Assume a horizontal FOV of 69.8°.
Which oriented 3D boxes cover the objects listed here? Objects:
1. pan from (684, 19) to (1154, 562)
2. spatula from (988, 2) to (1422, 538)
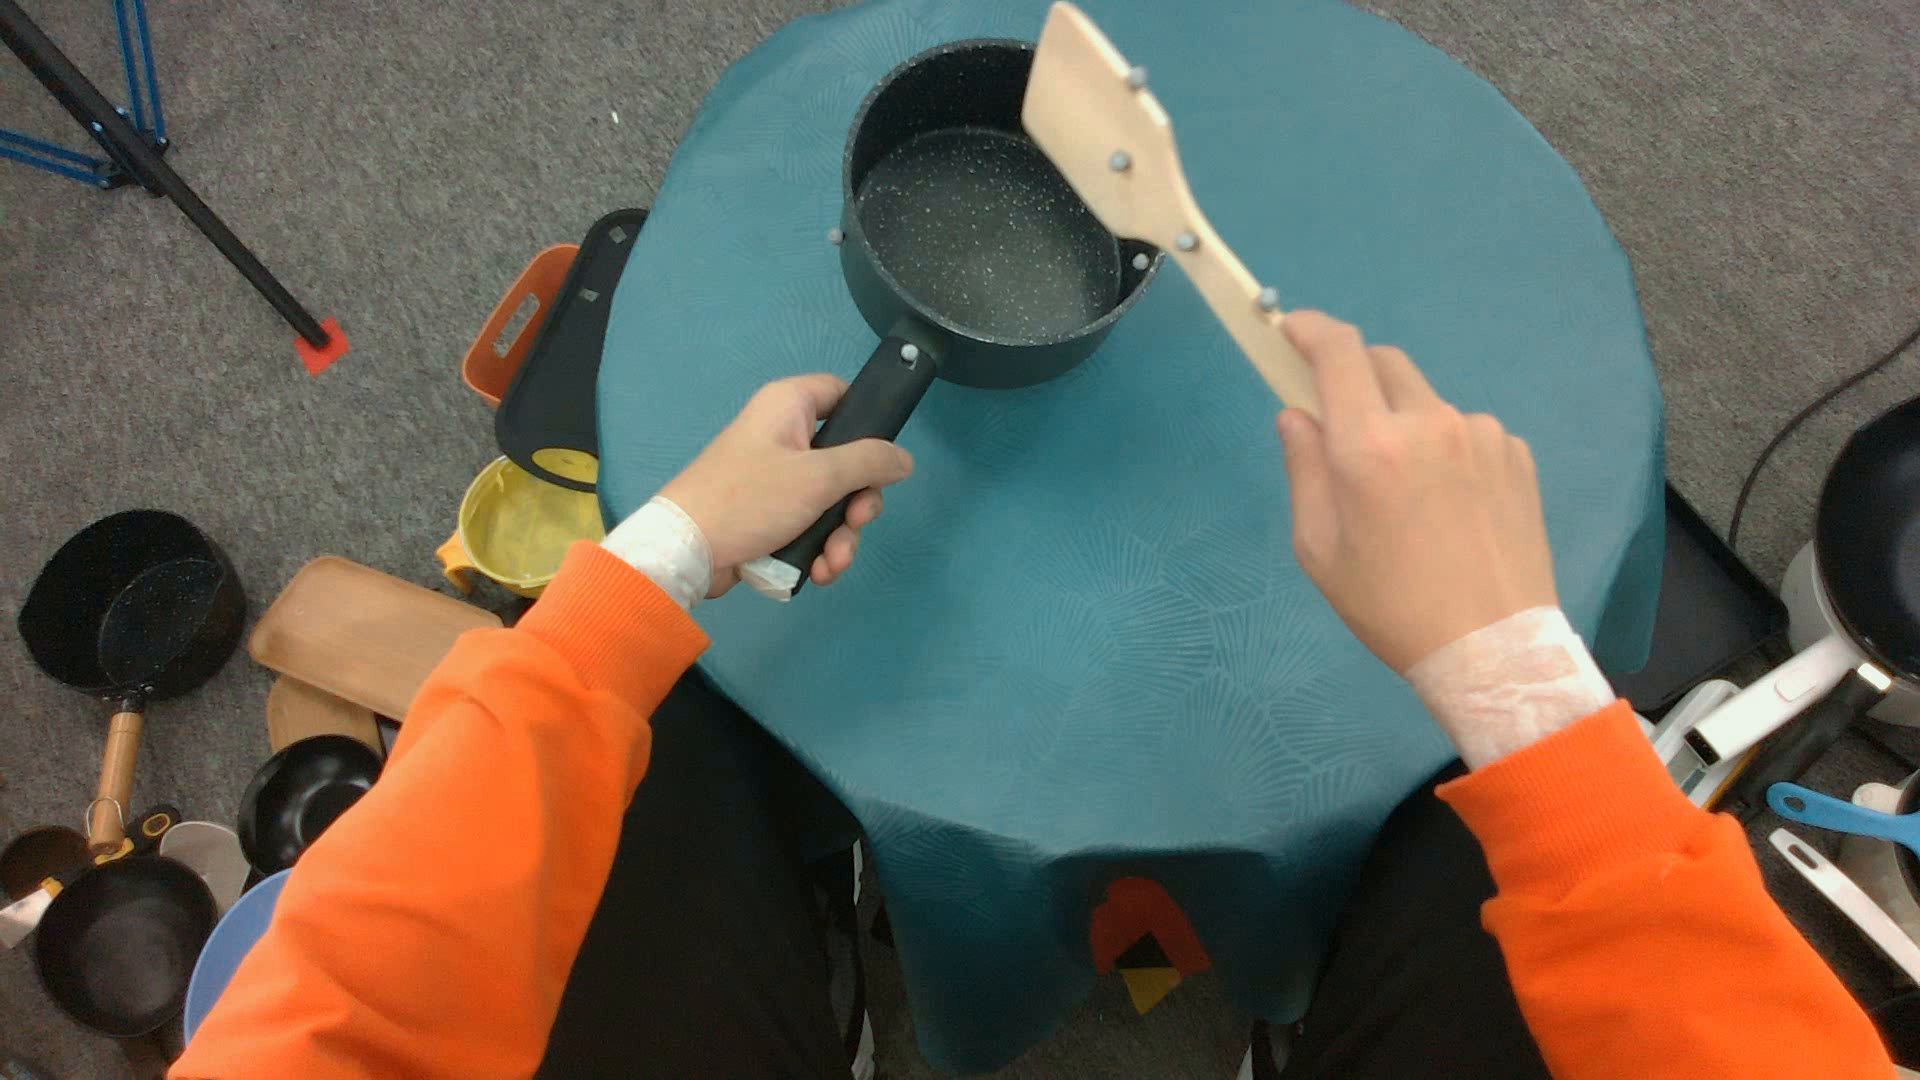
[{"bbox_3d":[-0.030,-0.116,0.697,0.172,0.086,0.330,33,69,0],"label":"pan"},{"bbox_3d":[0.099,-0.117,0.590,0.011,0.072,0.293,-25,66,-24],"label":"spatula"}]
